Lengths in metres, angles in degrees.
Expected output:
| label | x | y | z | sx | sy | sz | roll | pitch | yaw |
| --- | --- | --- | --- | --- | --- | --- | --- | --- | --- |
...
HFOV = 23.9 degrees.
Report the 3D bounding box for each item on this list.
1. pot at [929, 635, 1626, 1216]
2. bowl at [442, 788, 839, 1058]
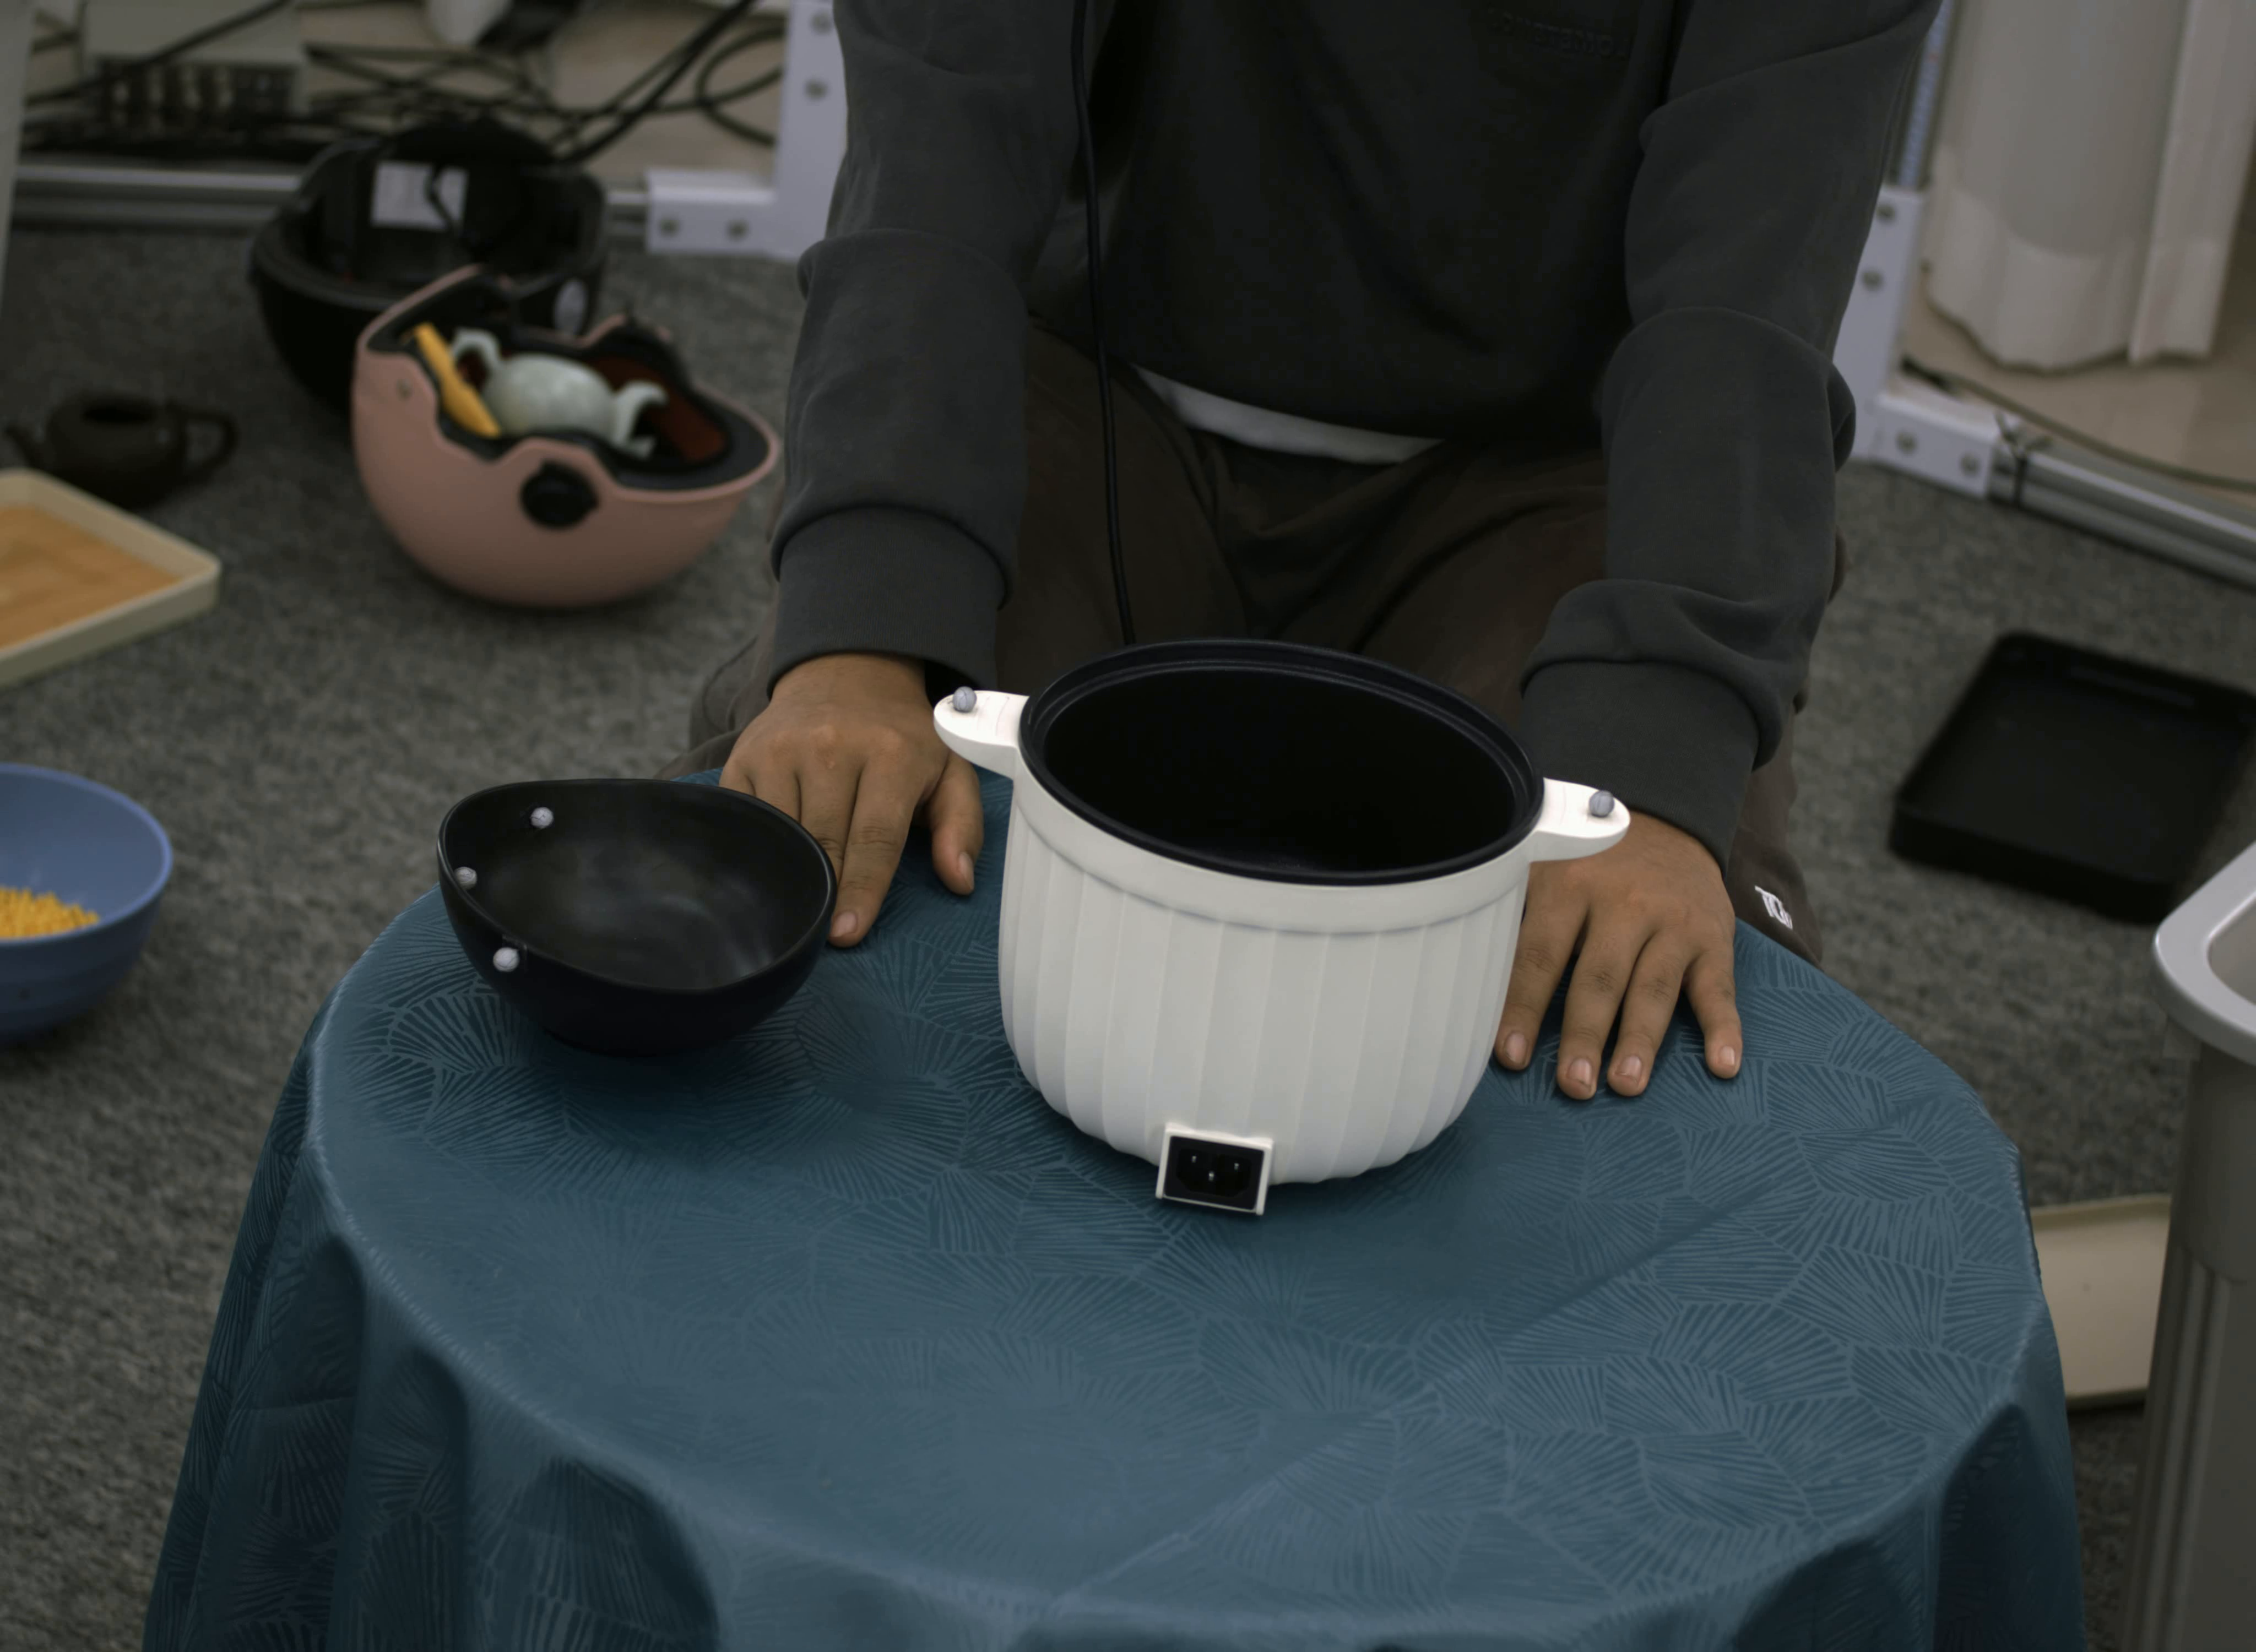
| label | x | y | z | sx | sy | sz | roll | pitch | yaw |
| --- | --- | --- | --- | --- | --- | --- | --- | --- | --- |
| pot | 0.043 | 0.031 | 1.847 | 0.240 | 0.142 | 0.191 | 10 | 30 | 2 |
| bowl | -0.173 | 0.038 | 1.863 | 0.136 | 0.066 | 0.172 | -2 | 26 | -17 |
